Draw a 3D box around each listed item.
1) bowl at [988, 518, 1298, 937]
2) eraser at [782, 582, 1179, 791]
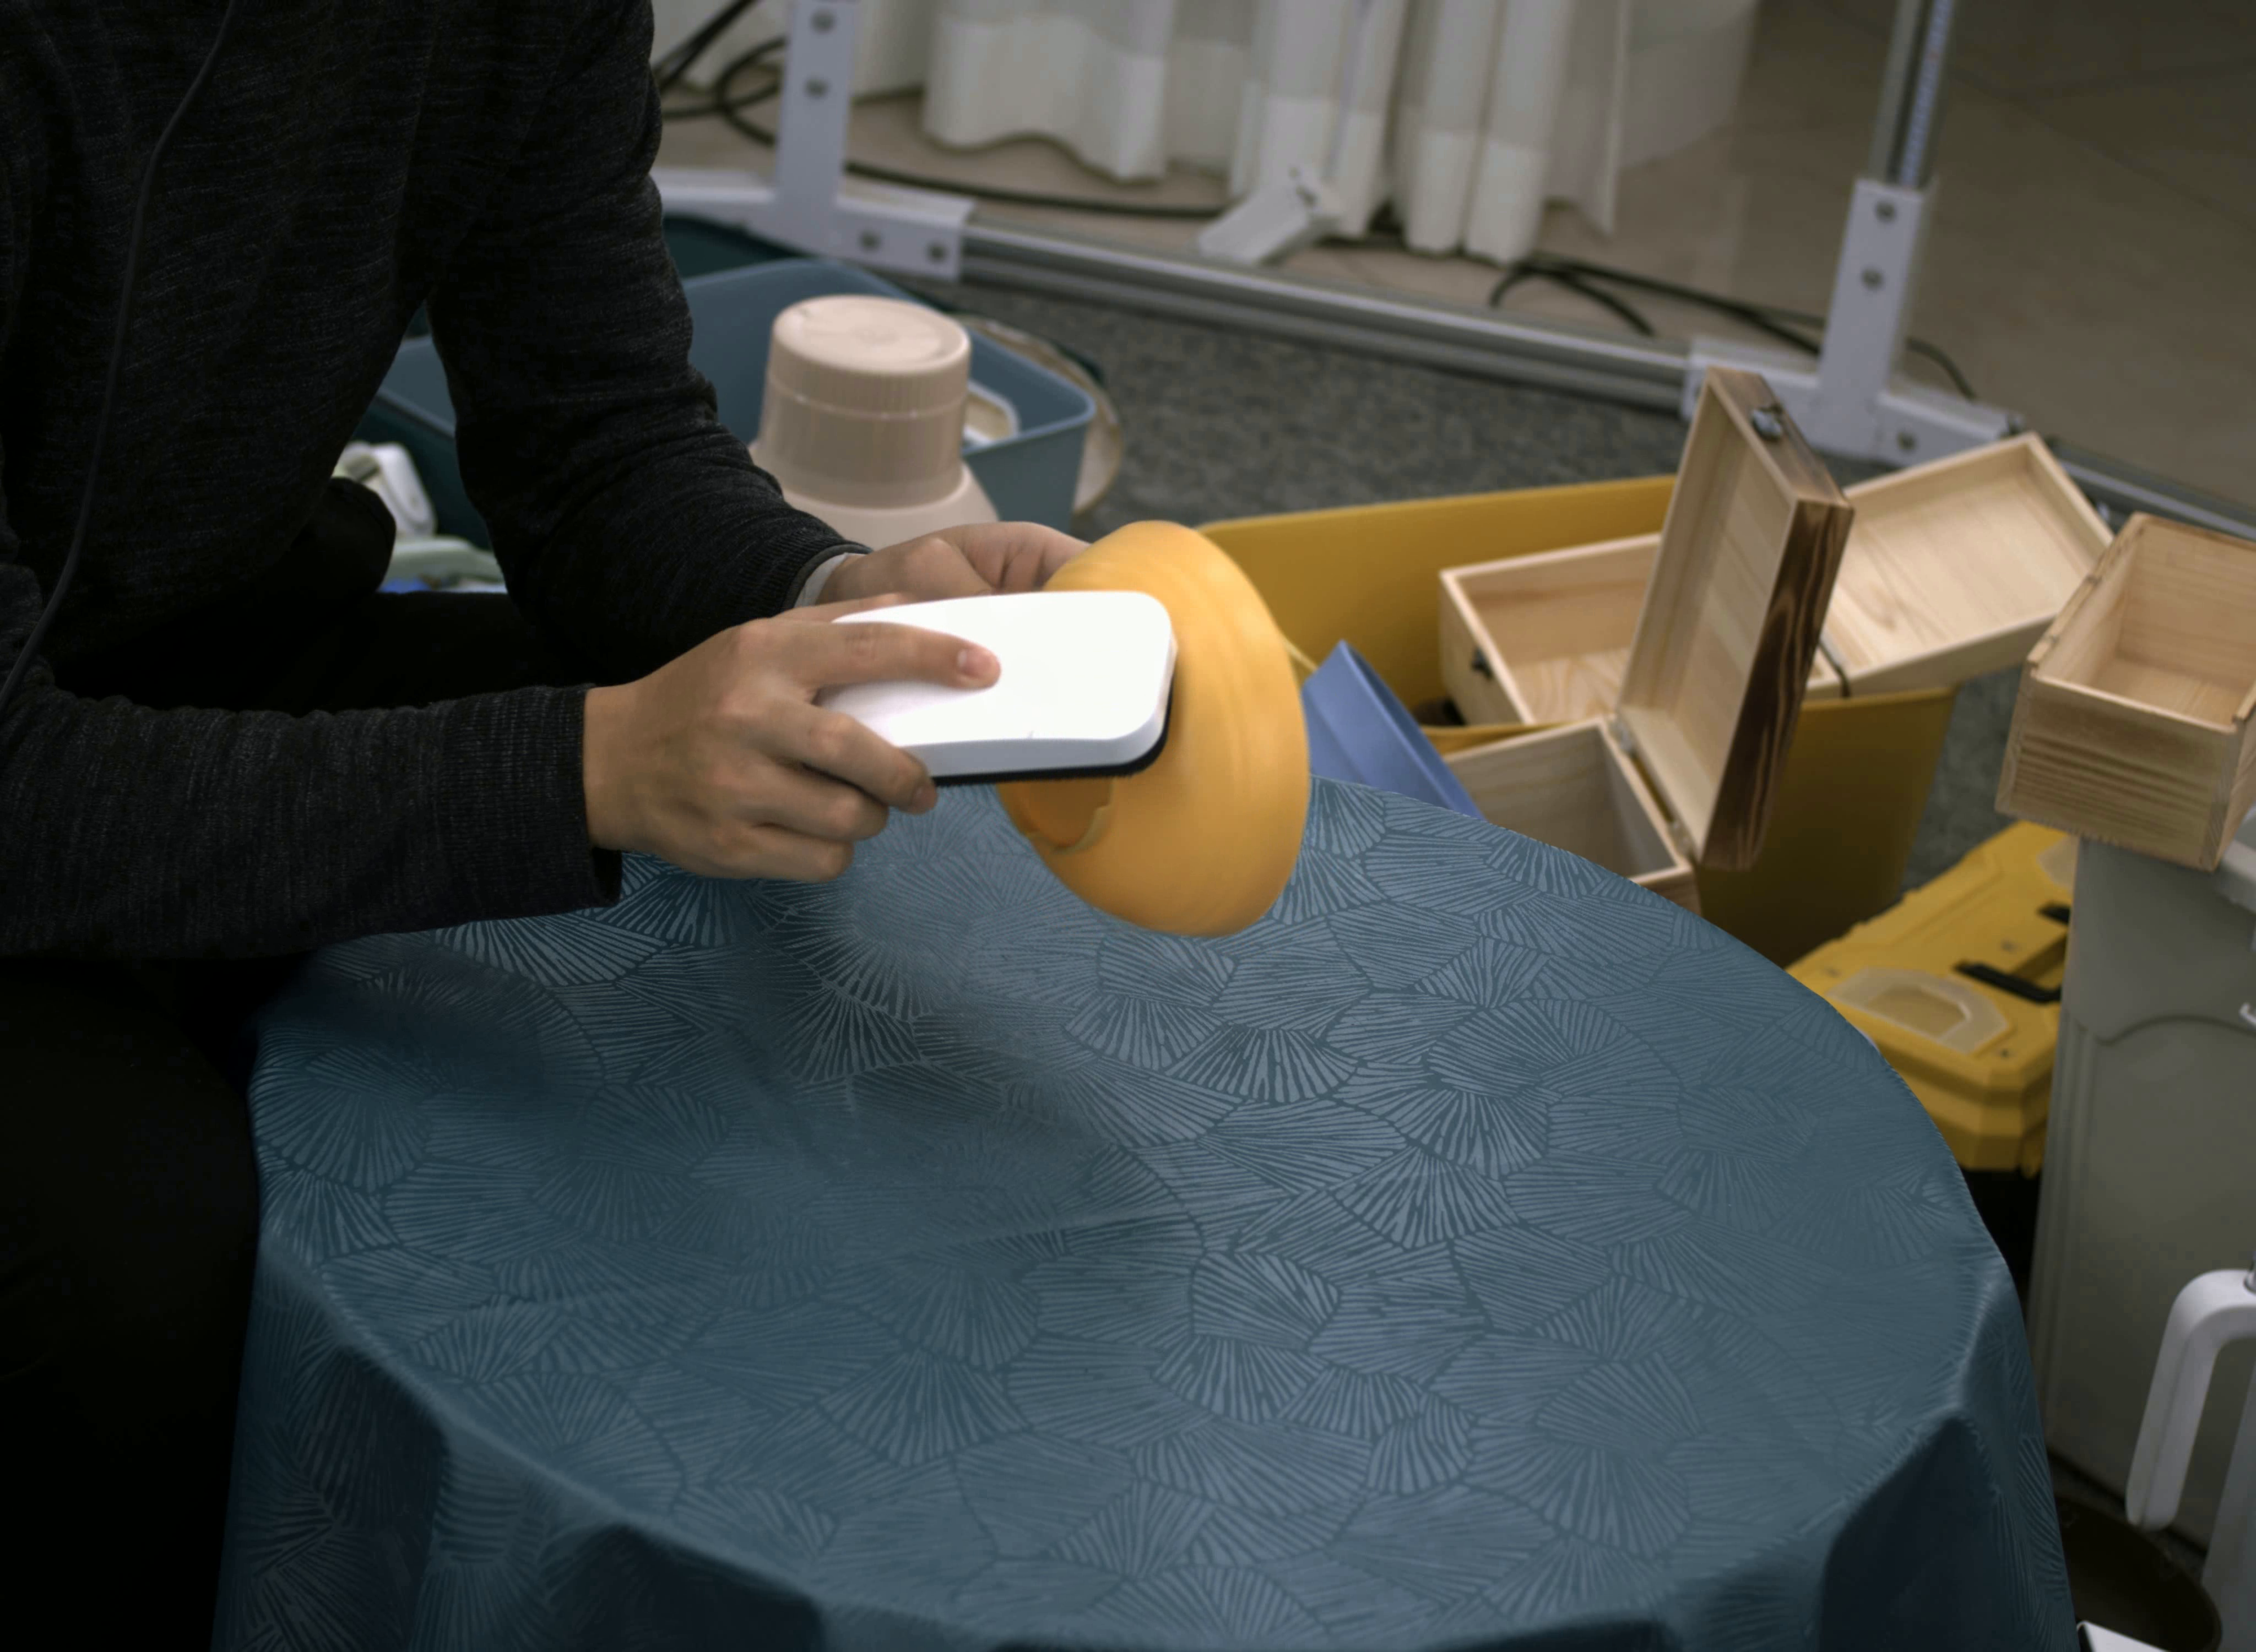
[{"bbox_3d":[-0.007,-0.029,1.803,0.060,0.145,0.146,-11,32,-33],"label":"bowl"},{"bbox_3d":[-0.048,-0.046,1.752,0.131,0.034,0.064,-4,52,20],"label":"eraser"}]
